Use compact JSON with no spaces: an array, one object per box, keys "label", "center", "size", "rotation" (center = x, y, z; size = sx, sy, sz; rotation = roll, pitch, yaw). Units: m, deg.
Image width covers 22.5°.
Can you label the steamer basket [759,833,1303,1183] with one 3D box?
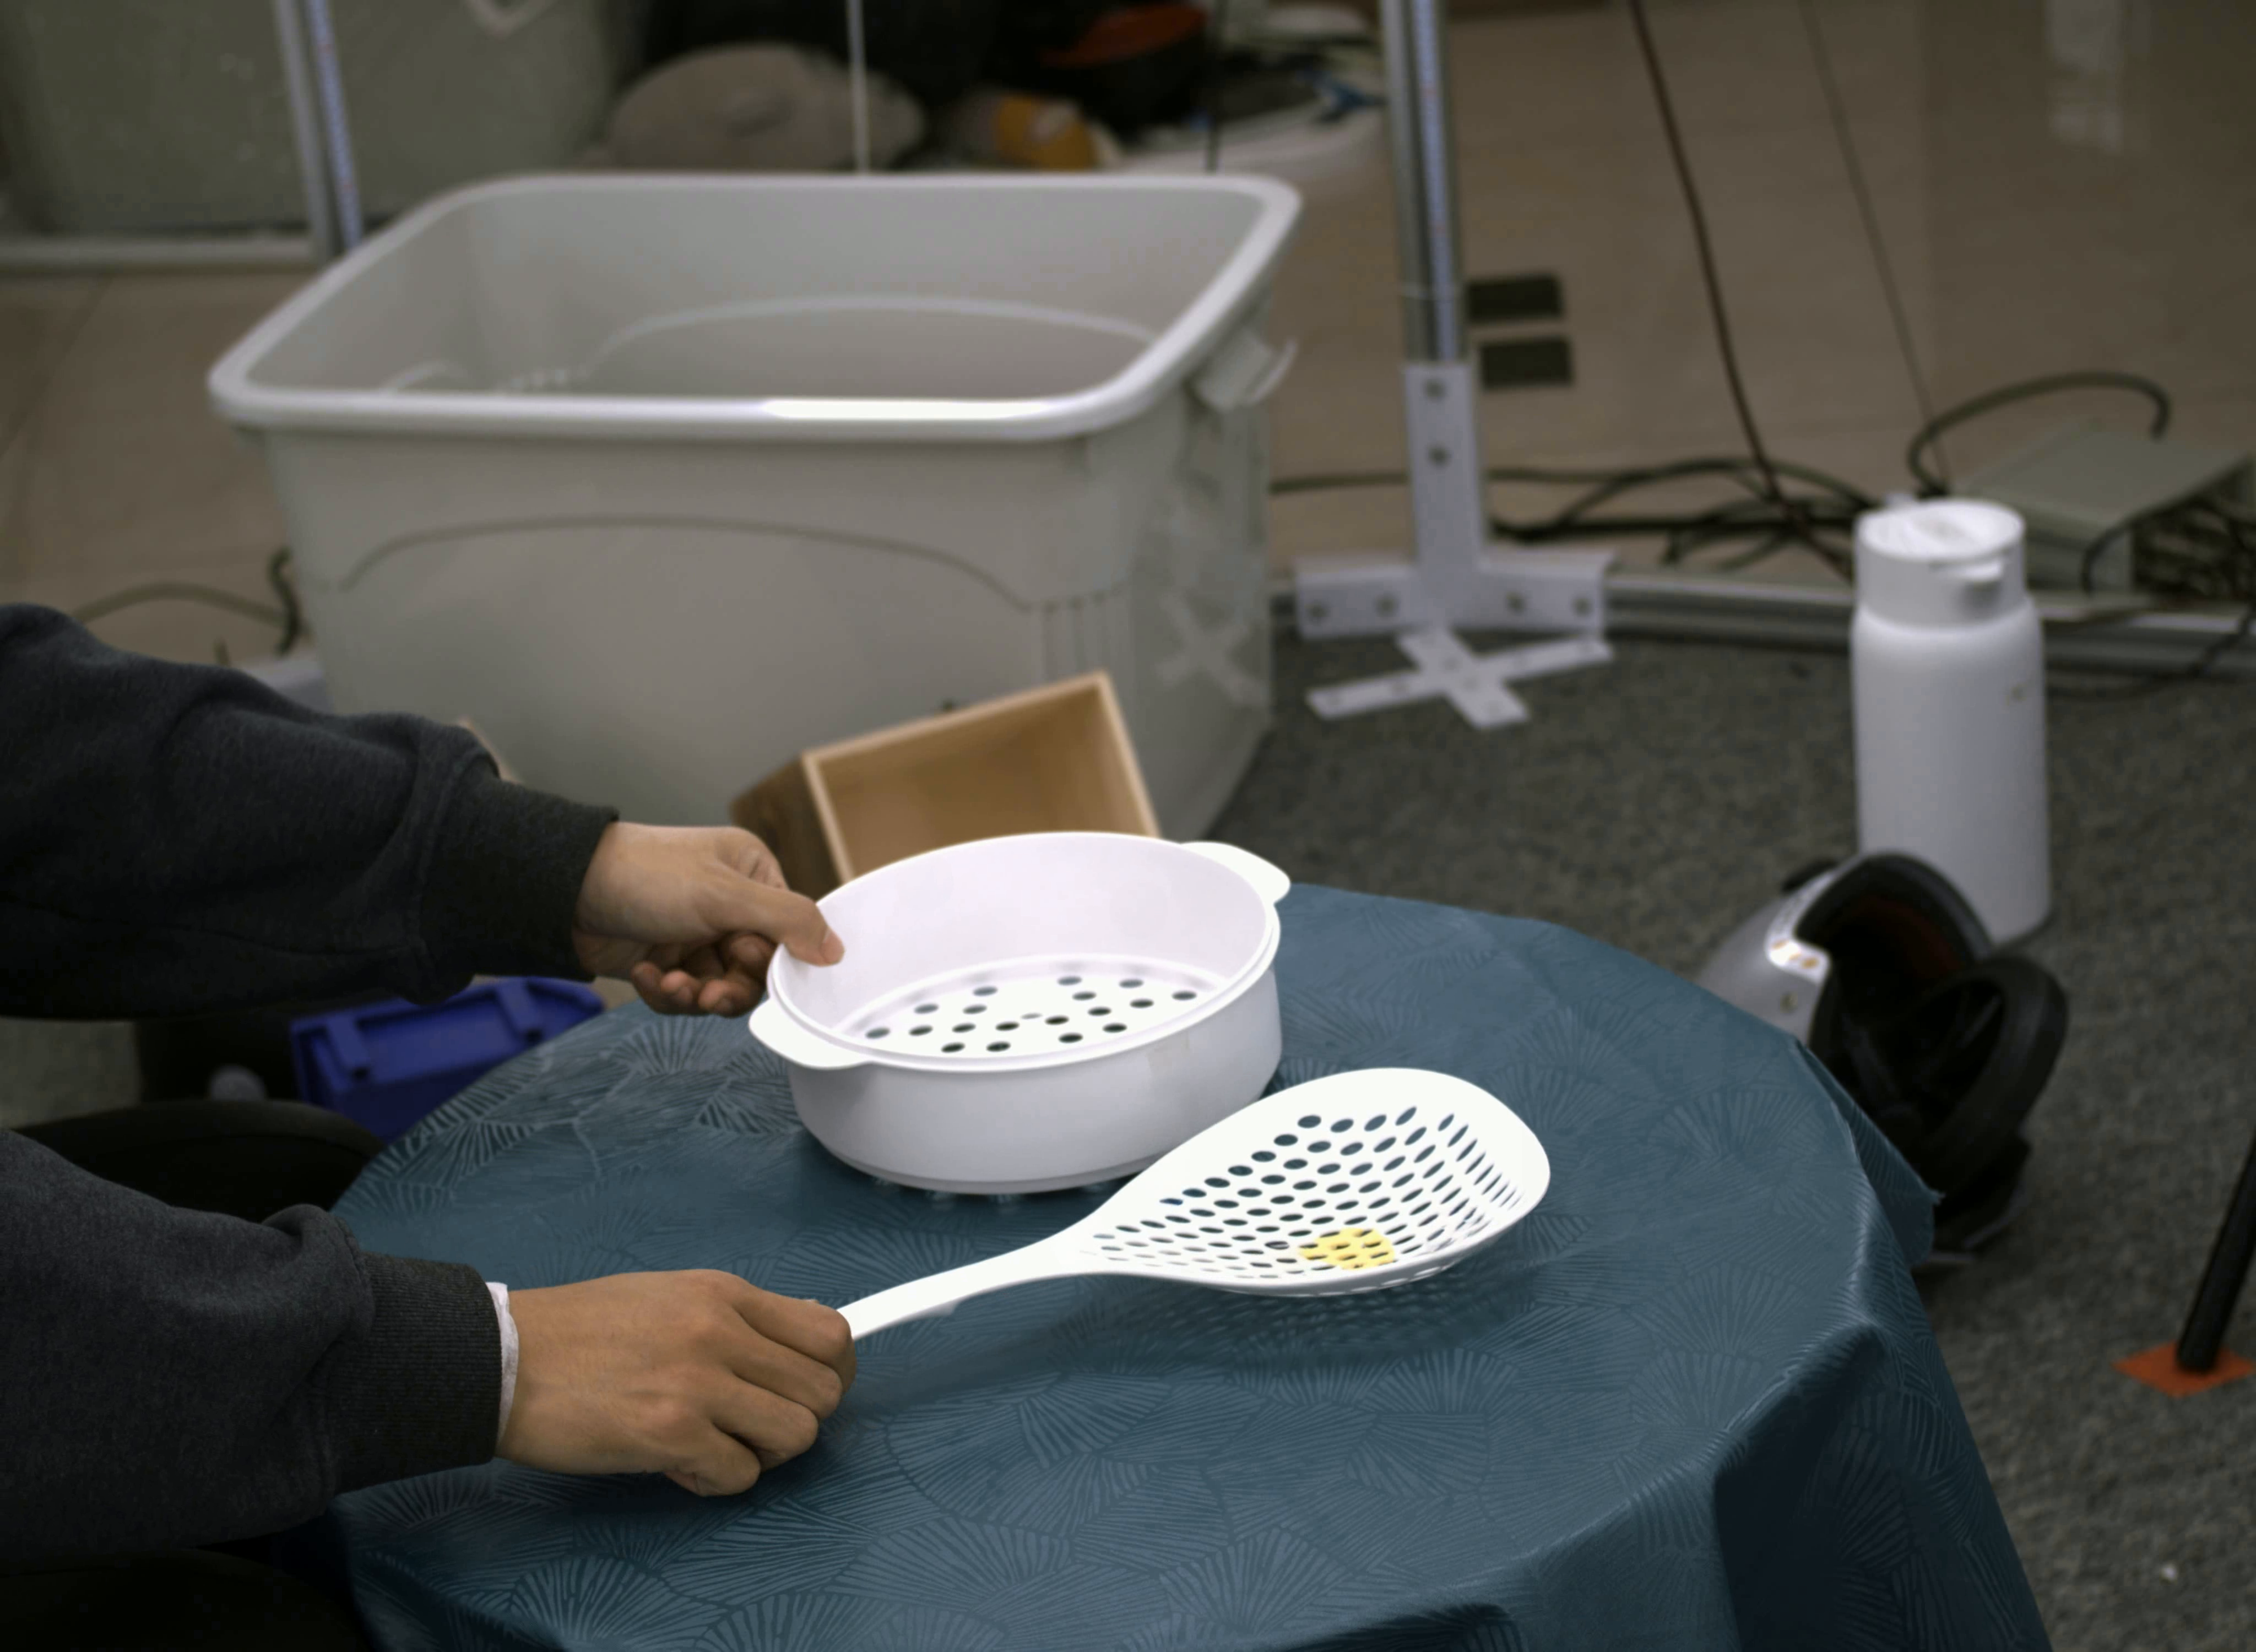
[{"label":"steamer basket","center":[-0.034,0.072,2.217],"size":[0.229,0.070,0.200],"rotation":[-19,27,-29]}]

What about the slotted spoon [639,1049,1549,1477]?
[{"label":"slotted spoon","center":[-0.015,0.164,2.045],"size":[0.346,0.051,0.135],"rotation":[-14,32,-17]}]
